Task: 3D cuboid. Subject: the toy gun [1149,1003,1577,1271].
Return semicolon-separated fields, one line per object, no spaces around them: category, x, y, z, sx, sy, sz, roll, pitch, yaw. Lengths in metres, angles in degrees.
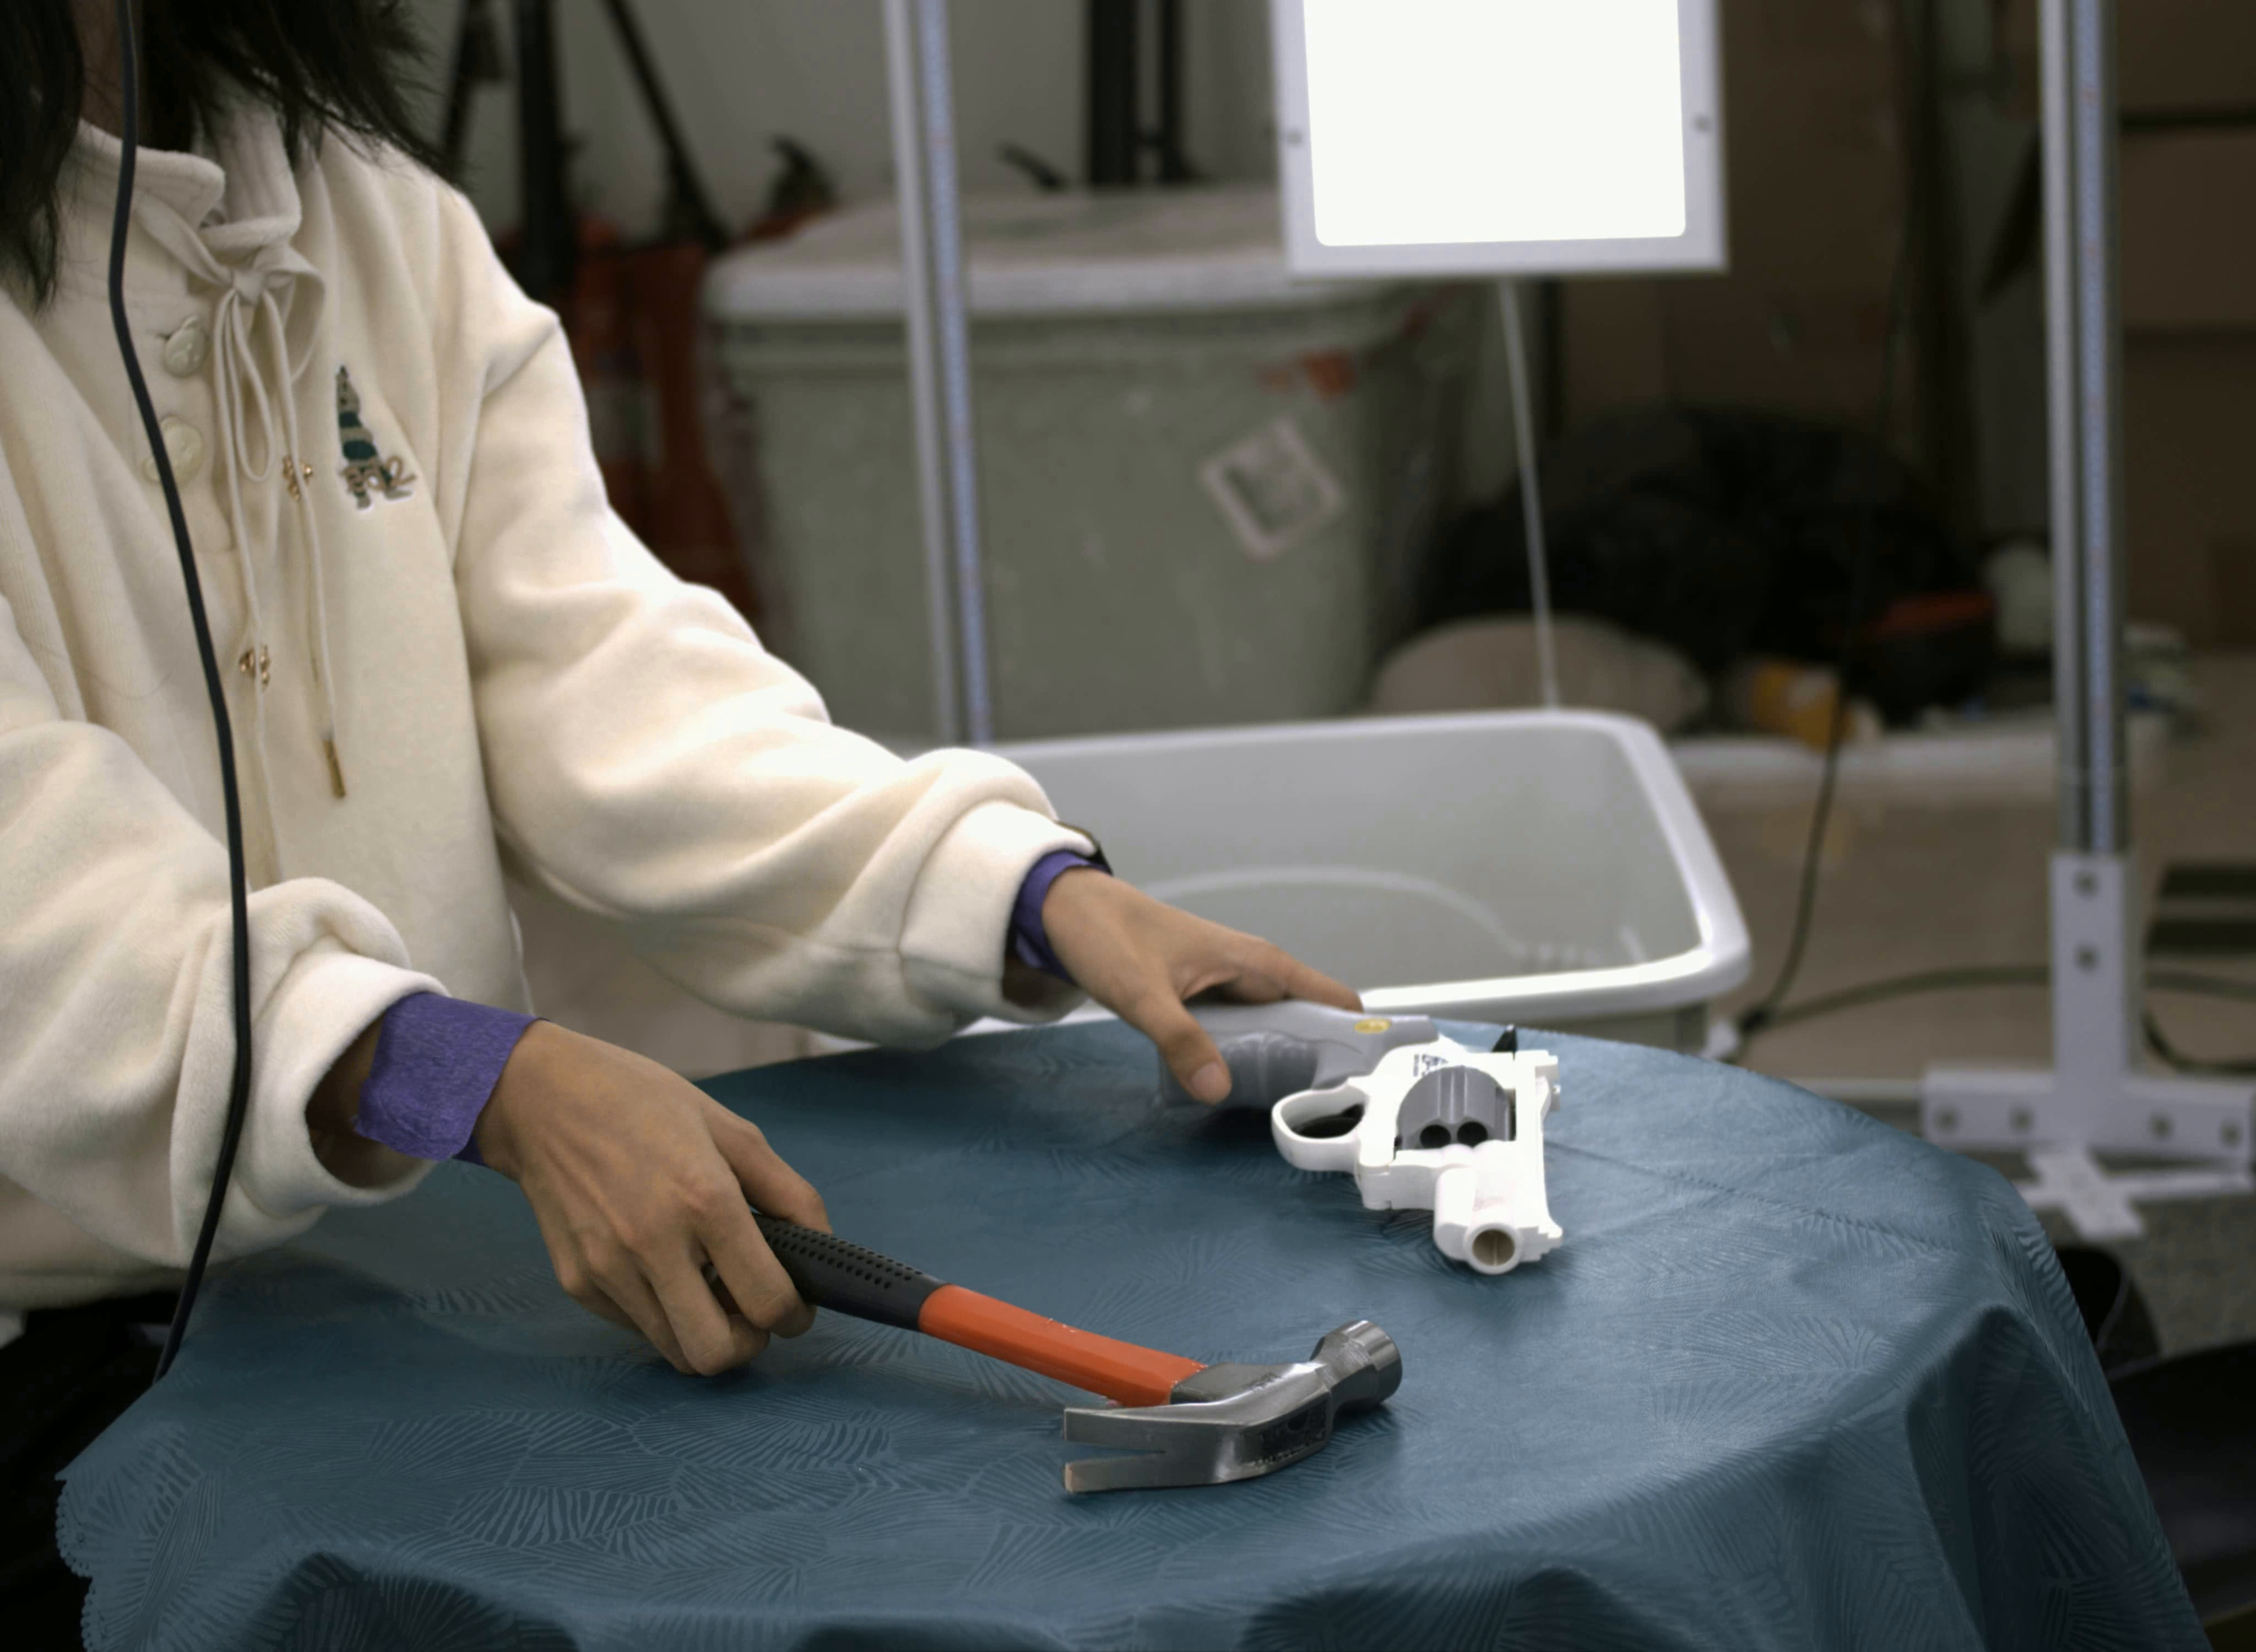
toy gun;0.078;0.103;1.873;0.141;0.039;0.208;-4;19;3

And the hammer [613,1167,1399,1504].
hammer;-0.056;0.150;1.713;0.283;0.026;0.108;14;34;40
